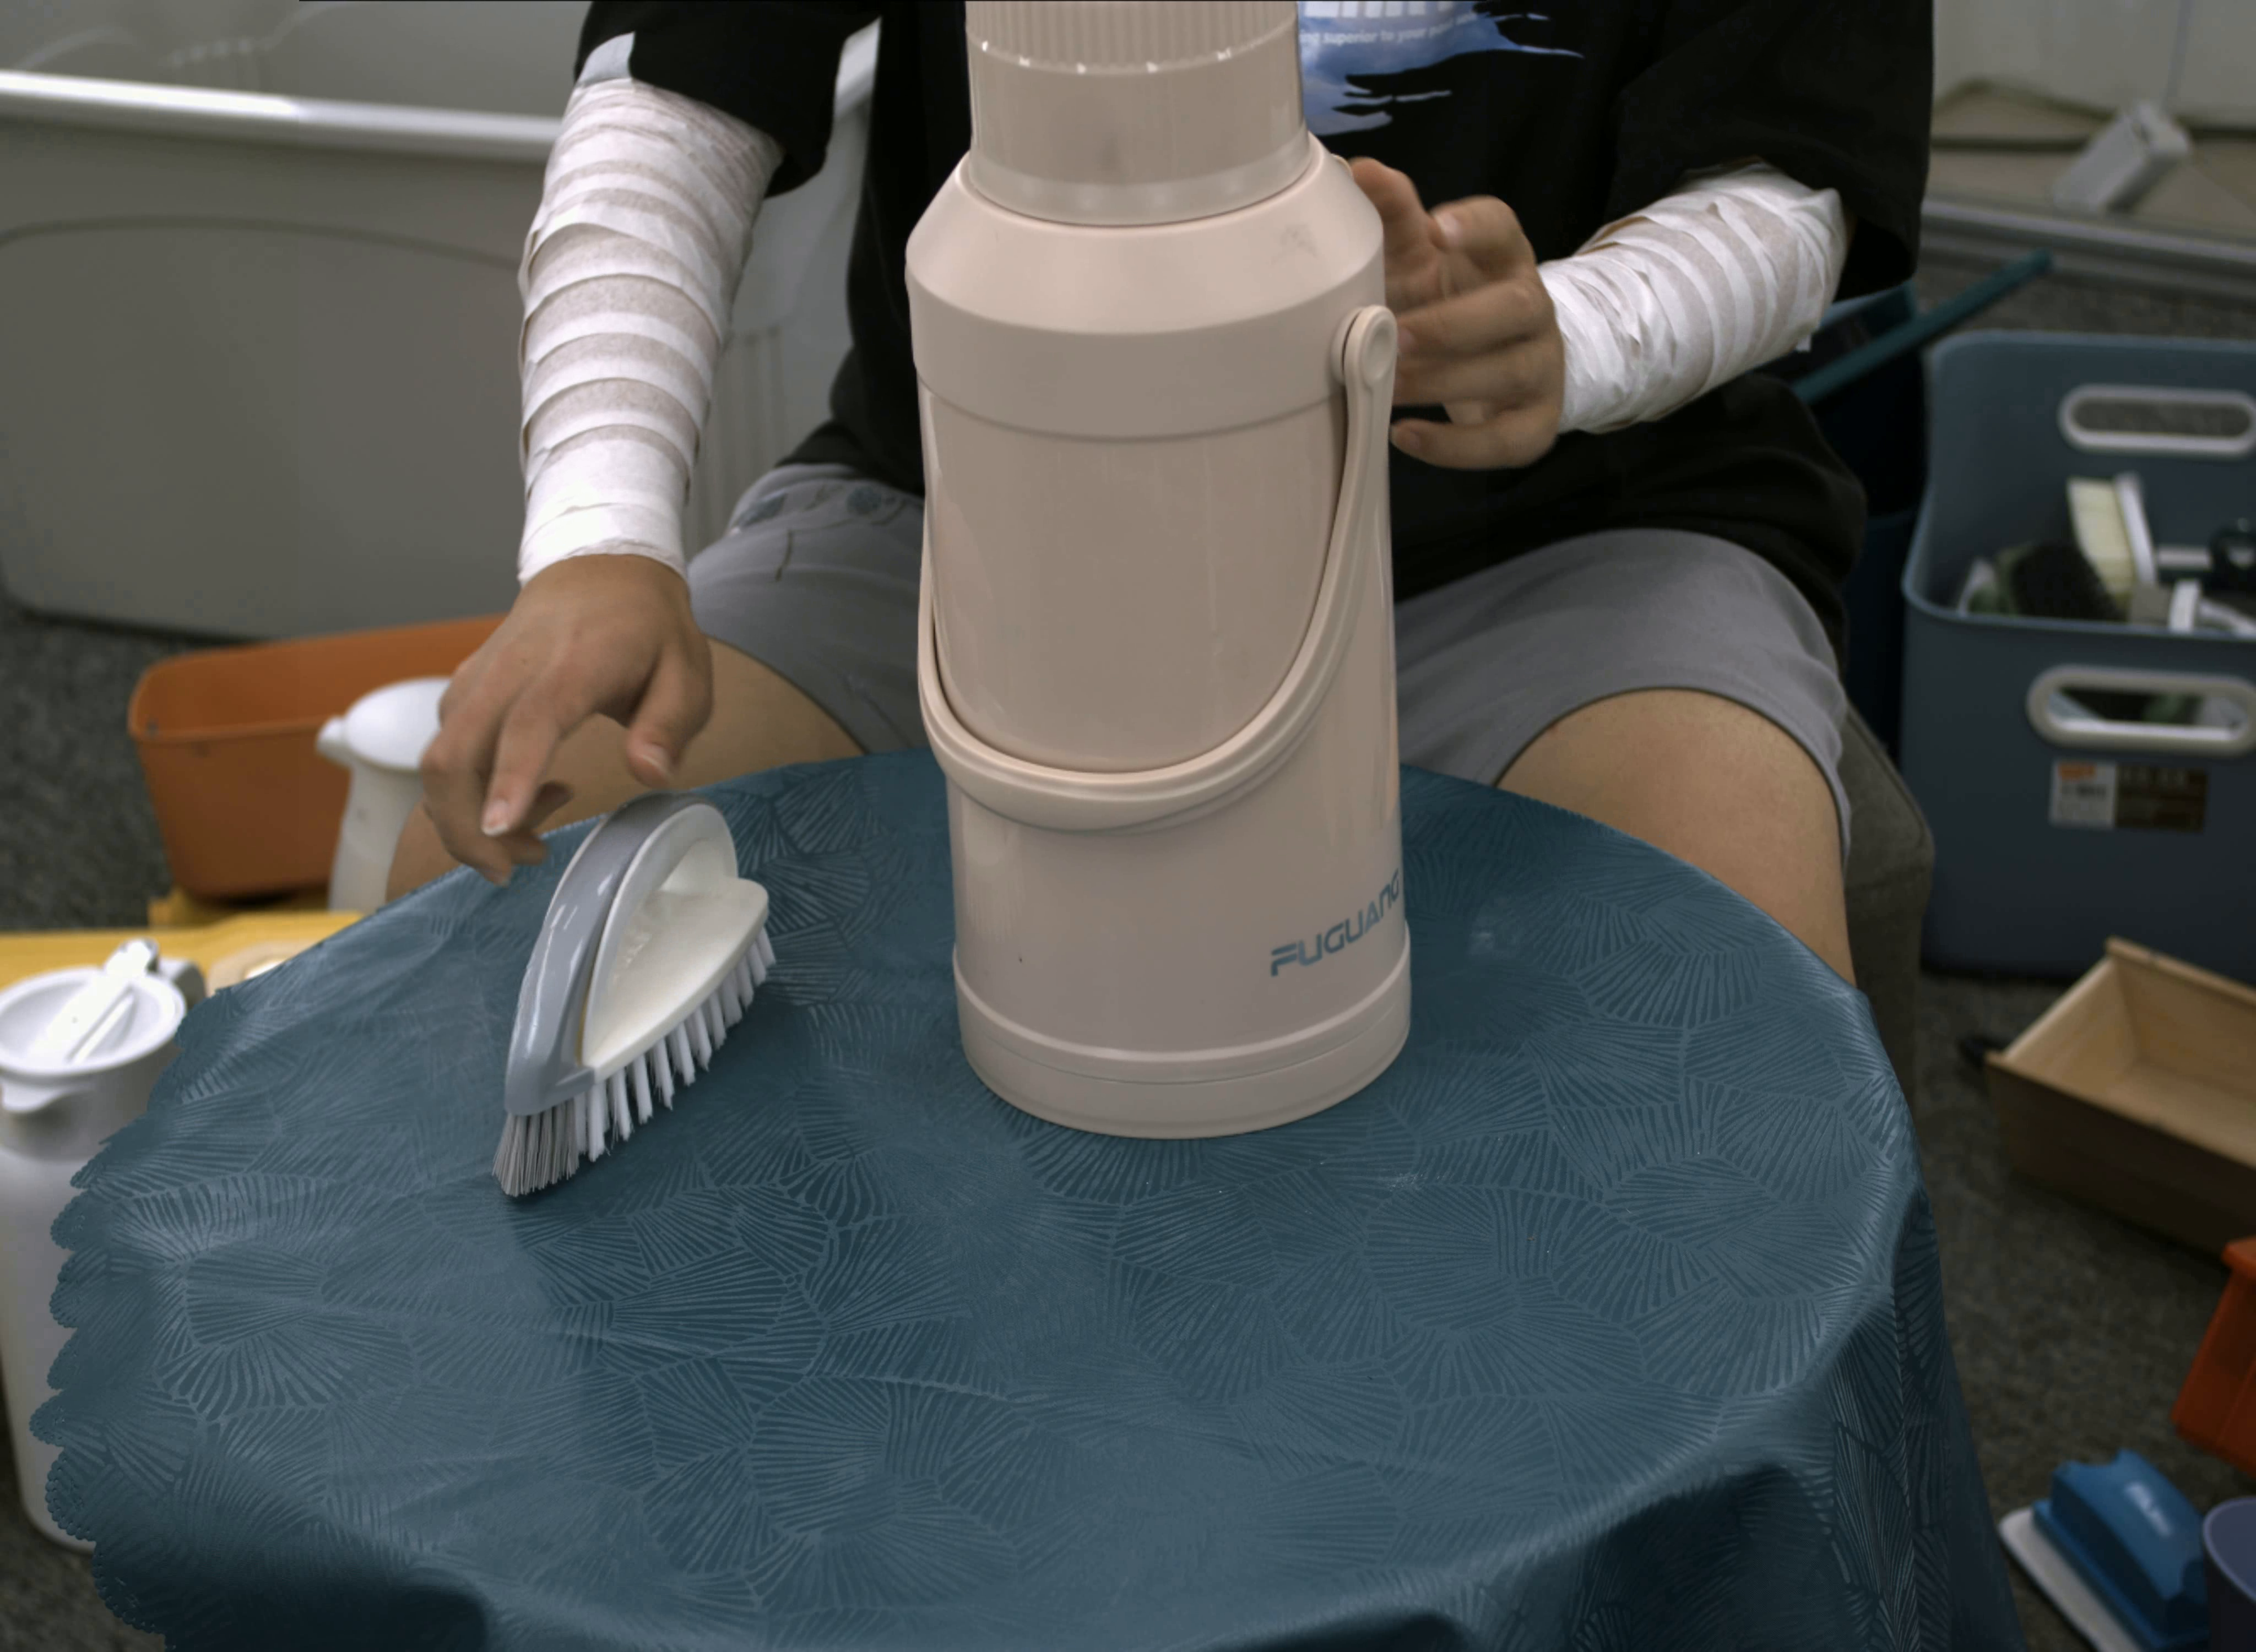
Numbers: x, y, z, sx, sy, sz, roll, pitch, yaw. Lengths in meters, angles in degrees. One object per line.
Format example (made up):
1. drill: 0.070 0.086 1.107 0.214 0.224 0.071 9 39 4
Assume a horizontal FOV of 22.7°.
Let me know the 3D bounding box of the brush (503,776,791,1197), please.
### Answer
1. brush: -0.174 0.047 1.923 0.061 0.093 0.178 4 30 20

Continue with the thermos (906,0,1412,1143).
1. thermos: 0.019 -0.111 1.884 0.174 0.402 0.210 11 29 30
